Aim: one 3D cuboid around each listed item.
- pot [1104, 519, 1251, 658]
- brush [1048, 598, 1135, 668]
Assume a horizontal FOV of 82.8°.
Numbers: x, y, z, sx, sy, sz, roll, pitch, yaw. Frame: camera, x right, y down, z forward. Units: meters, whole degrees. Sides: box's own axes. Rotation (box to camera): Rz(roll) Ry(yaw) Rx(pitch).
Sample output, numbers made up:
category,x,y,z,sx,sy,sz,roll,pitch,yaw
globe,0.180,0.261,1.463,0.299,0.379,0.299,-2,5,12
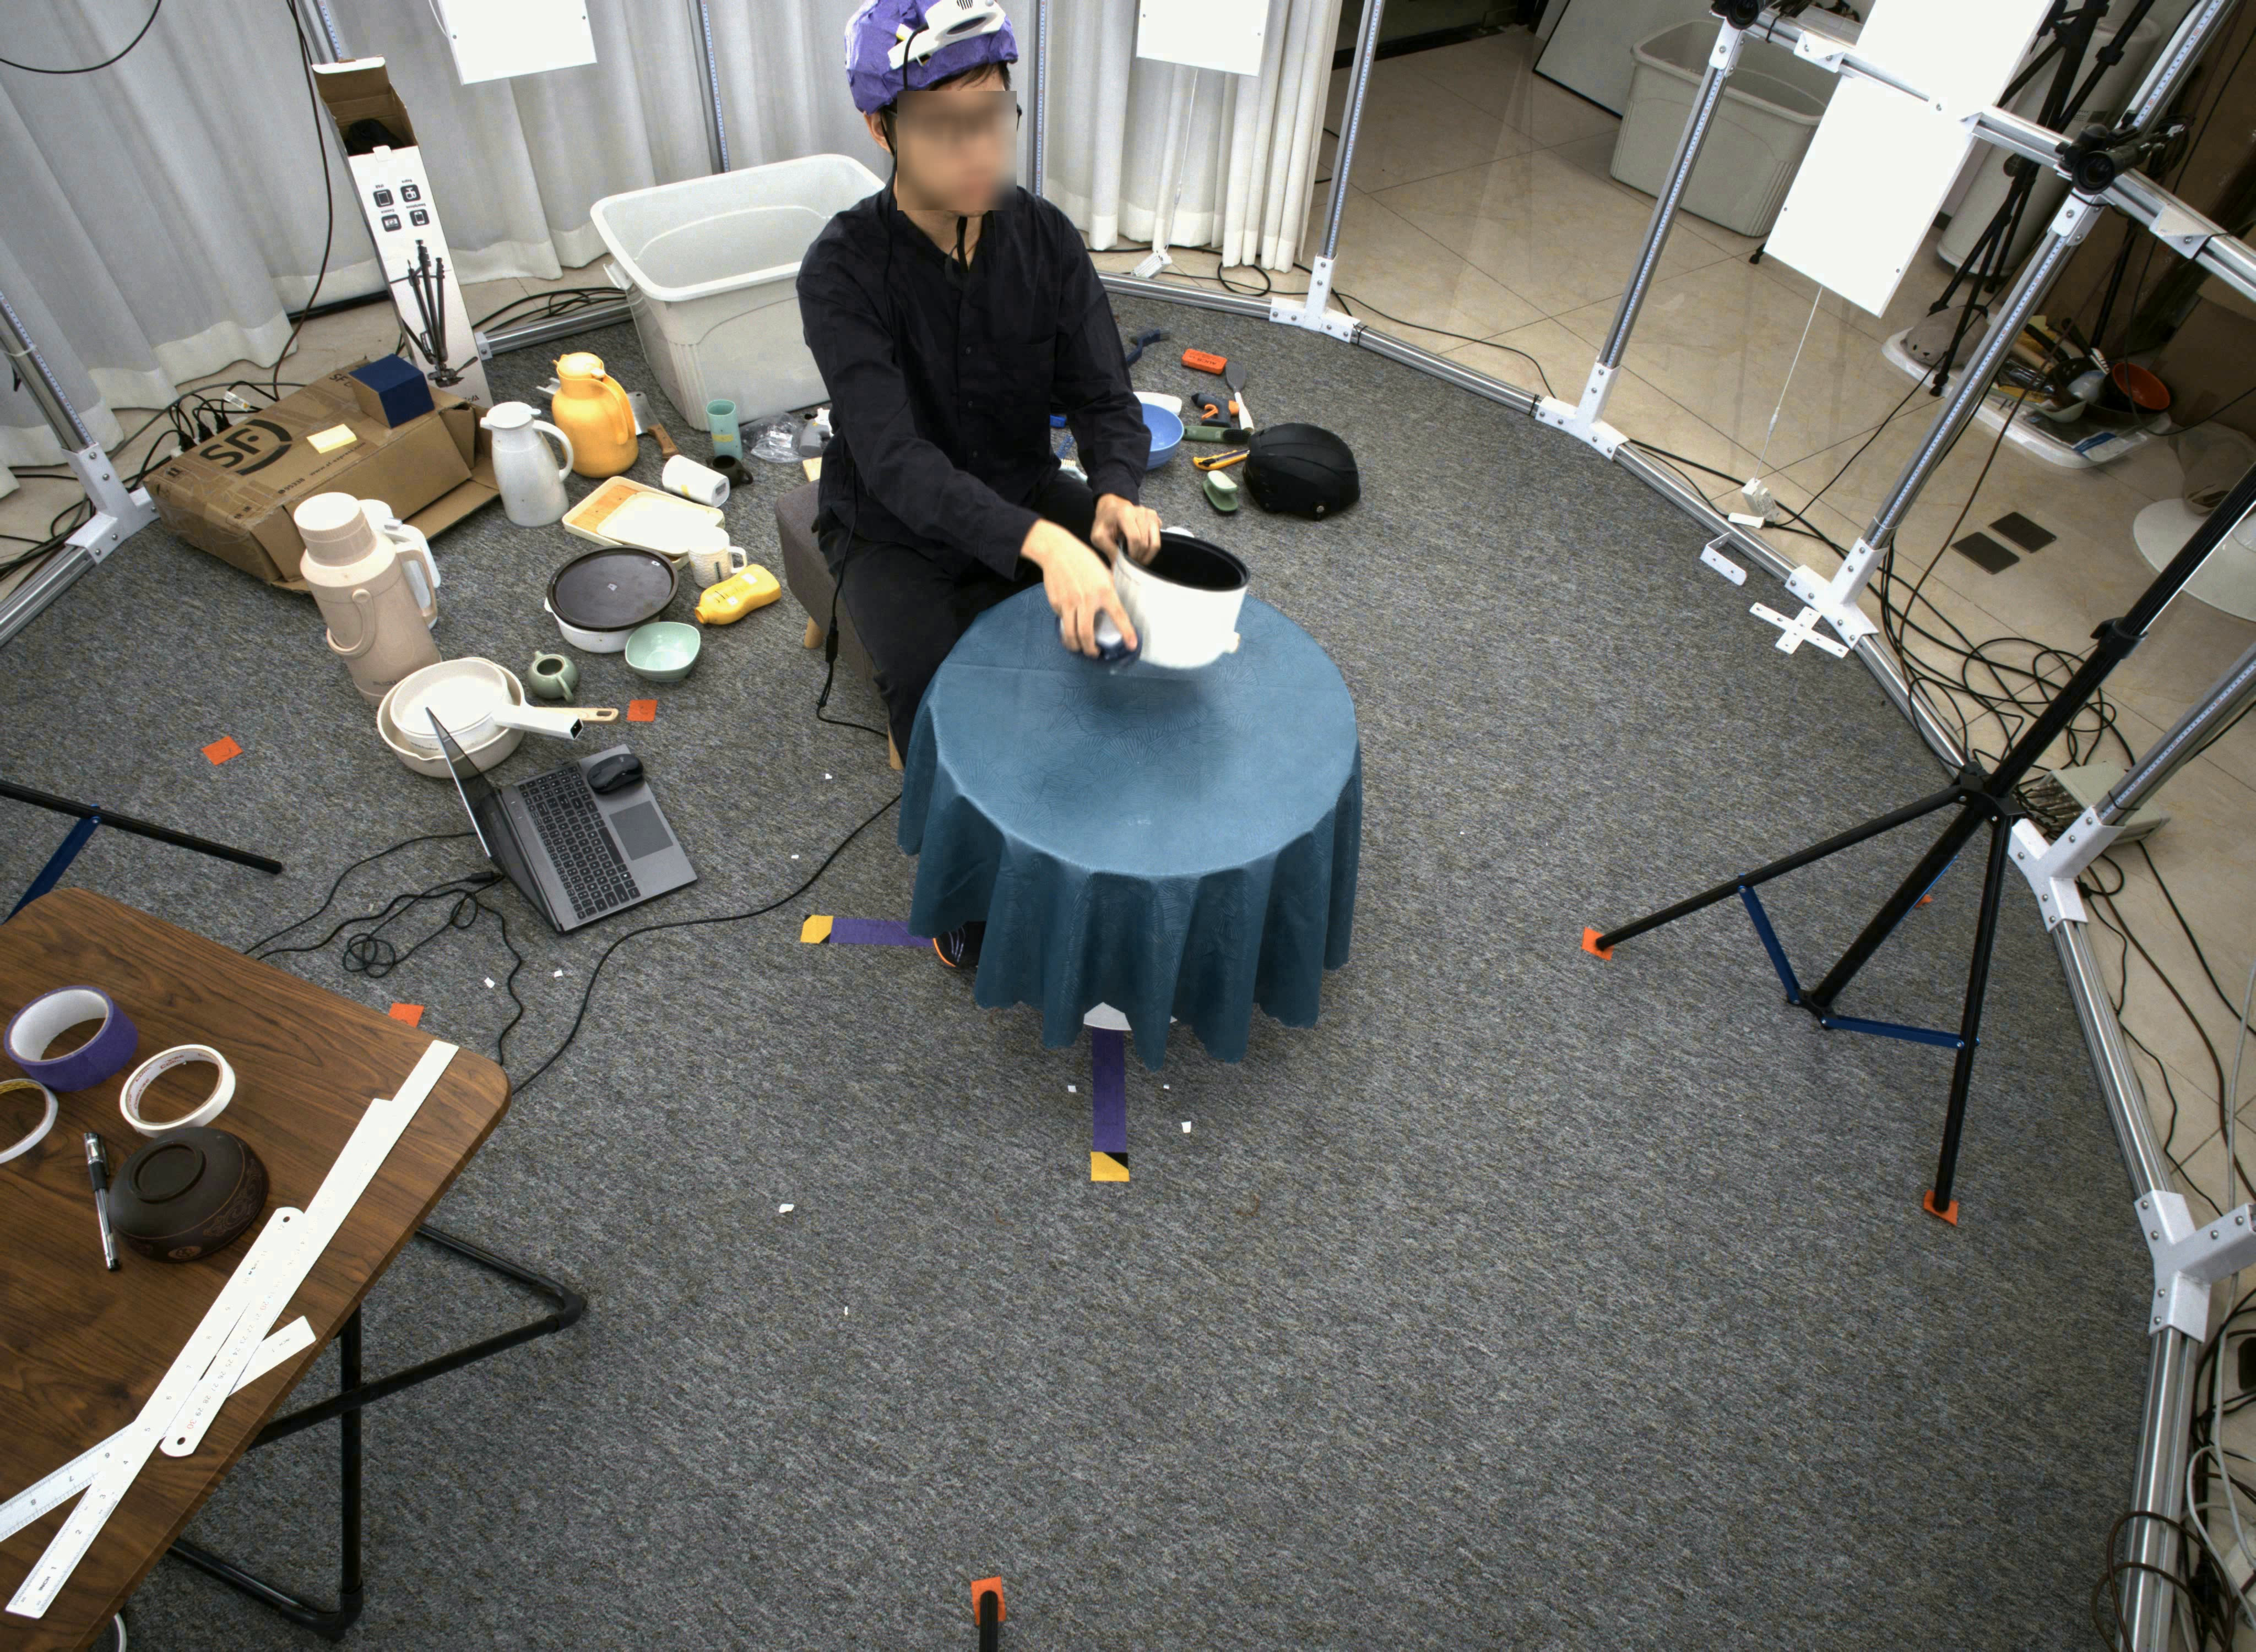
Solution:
category,x,y,z,sx,sy,sz,roll,pitch,yaw
pot,0.070,-0.320,1.770,0.190,0.140,0.246,9,33,-8
brush,-0.047,-0.249,1.665,0.123,0.060,0.068,27,74,25
